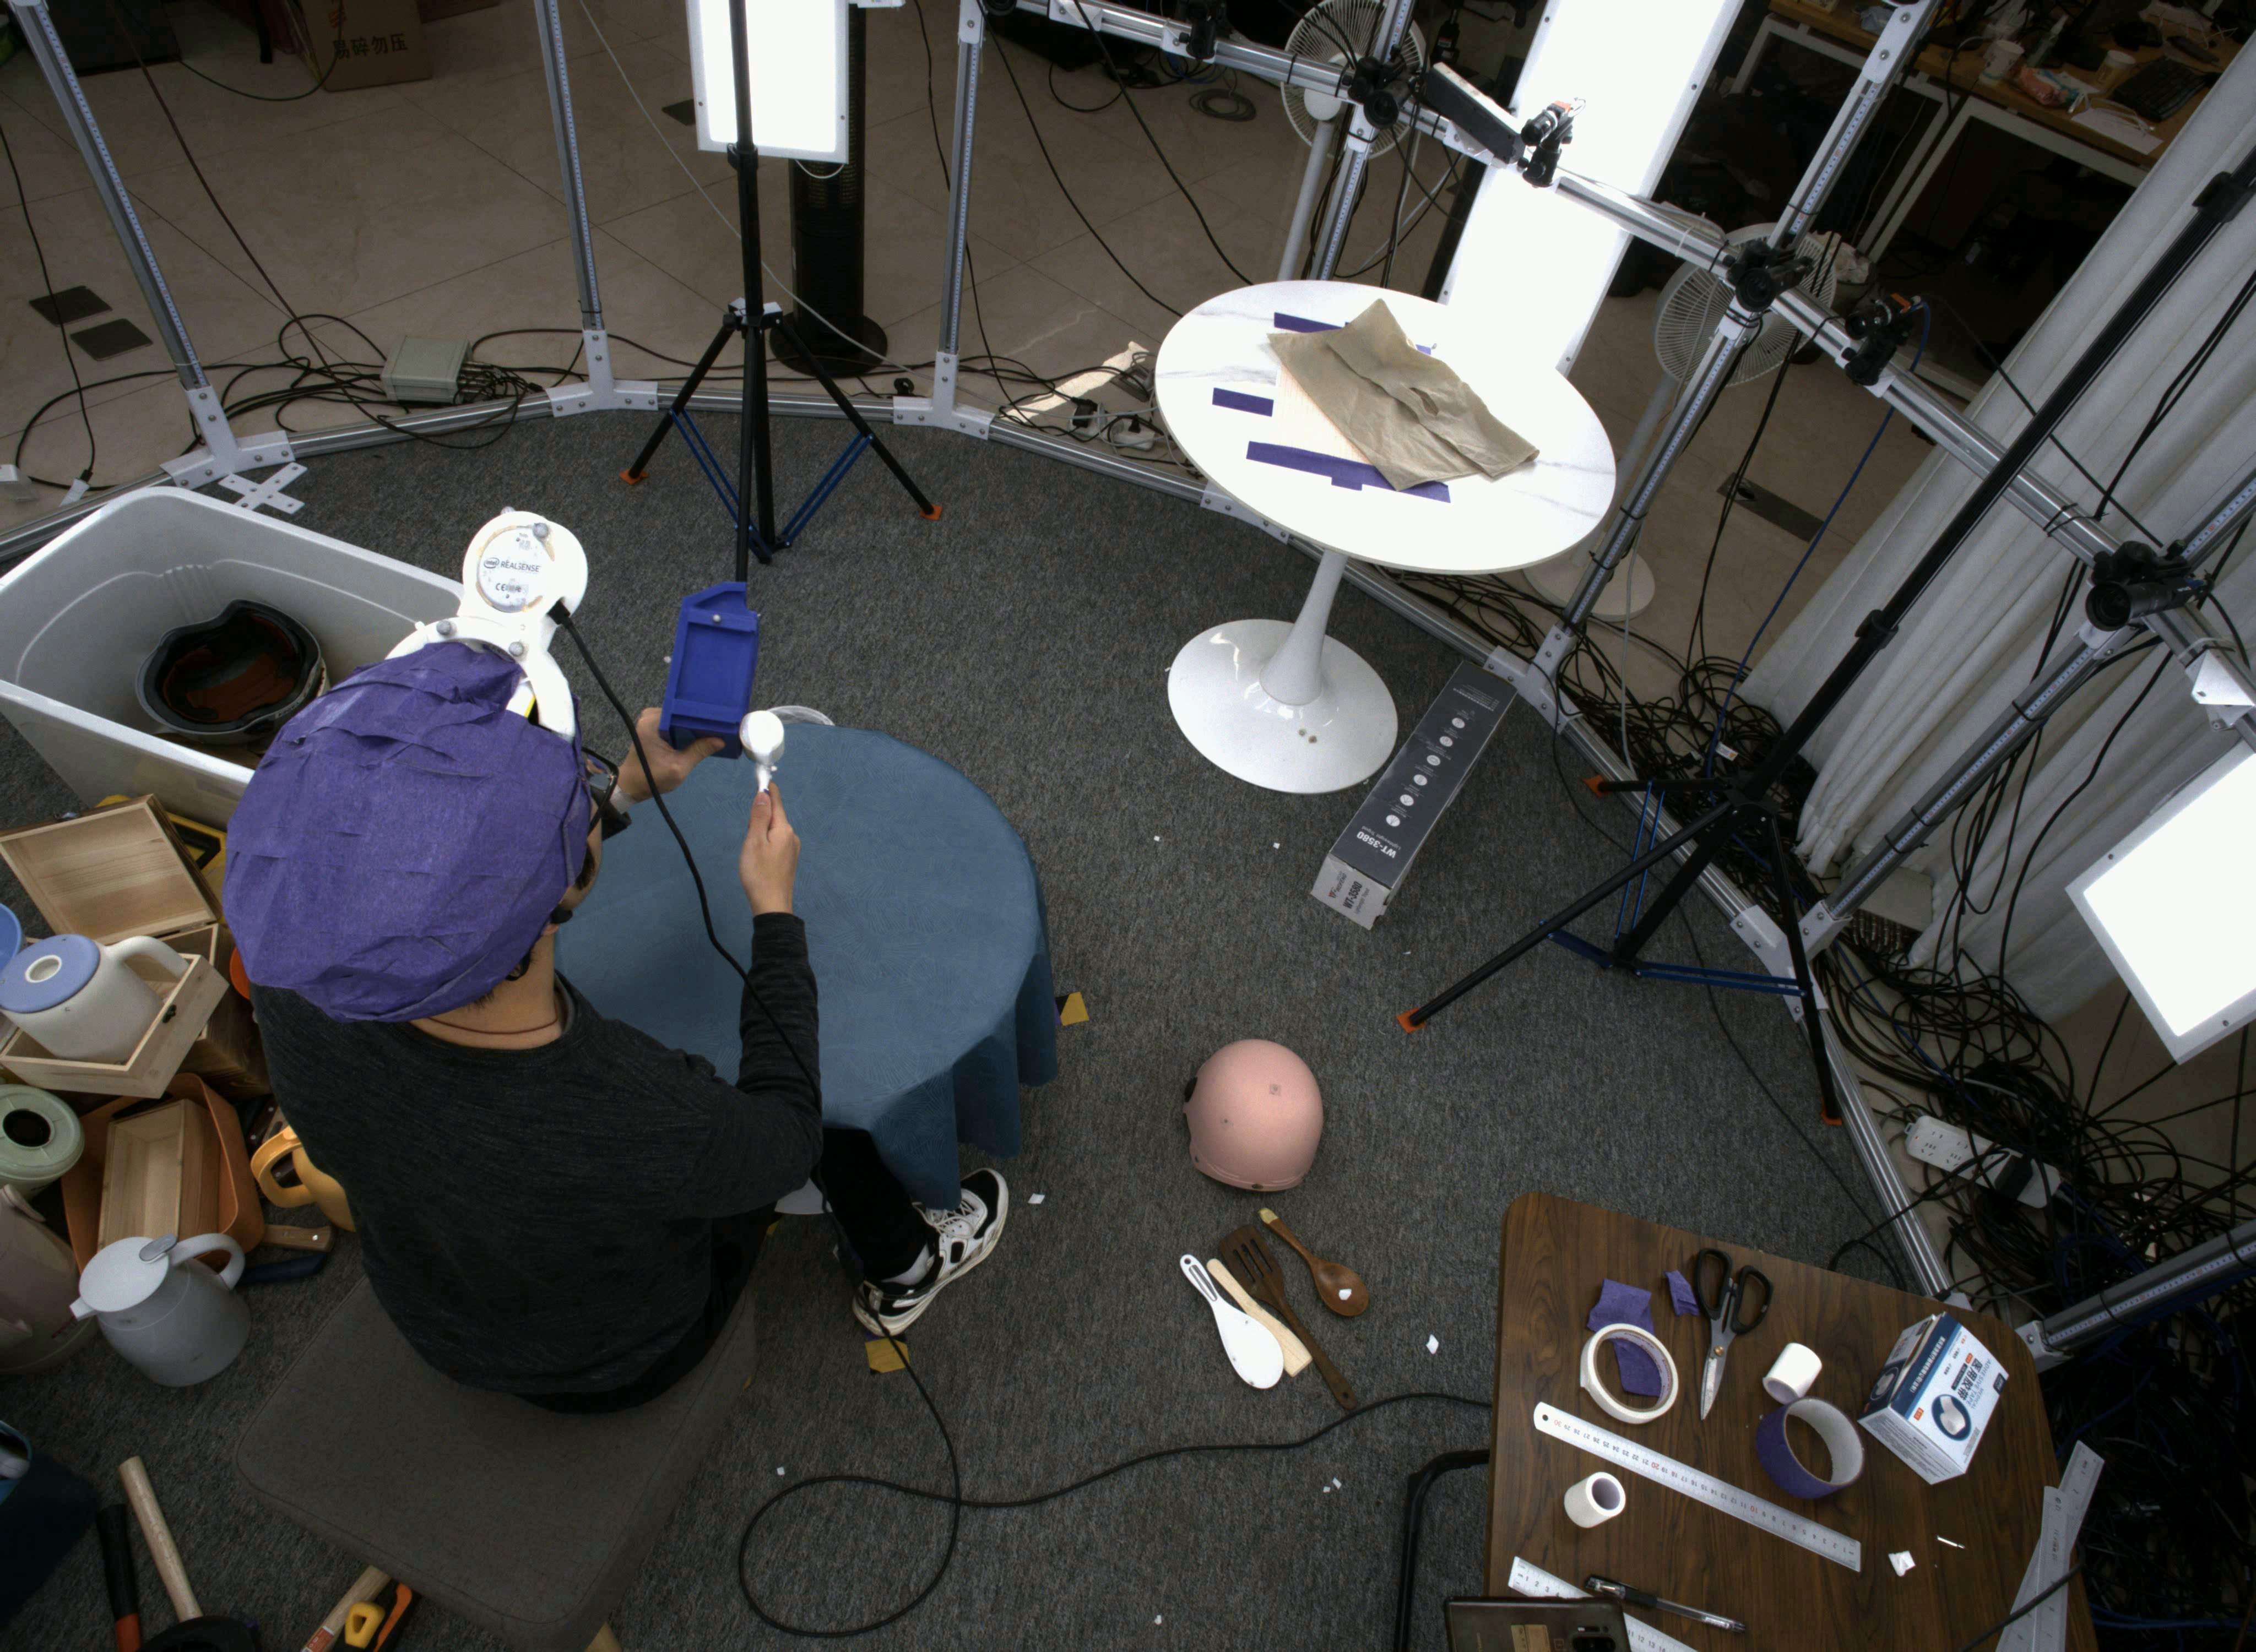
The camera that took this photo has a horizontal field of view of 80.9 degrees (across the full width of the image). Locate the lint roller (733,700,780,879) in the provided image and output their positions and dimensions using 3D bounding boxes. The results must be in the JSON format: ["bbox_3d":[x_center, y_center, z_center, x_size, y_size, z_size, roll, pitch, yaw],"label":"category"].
[{"bbox_3d":[-0.390,-0.038,1.397,0.050,0.131,0.182,-11,87,-16],"label":"lint roller"}]

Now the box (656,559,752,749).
[{"bbox_3d":[-0.457,-0.183,1.397,0.082,0.124,0.179,5,77,-14],"label":"box"}]
